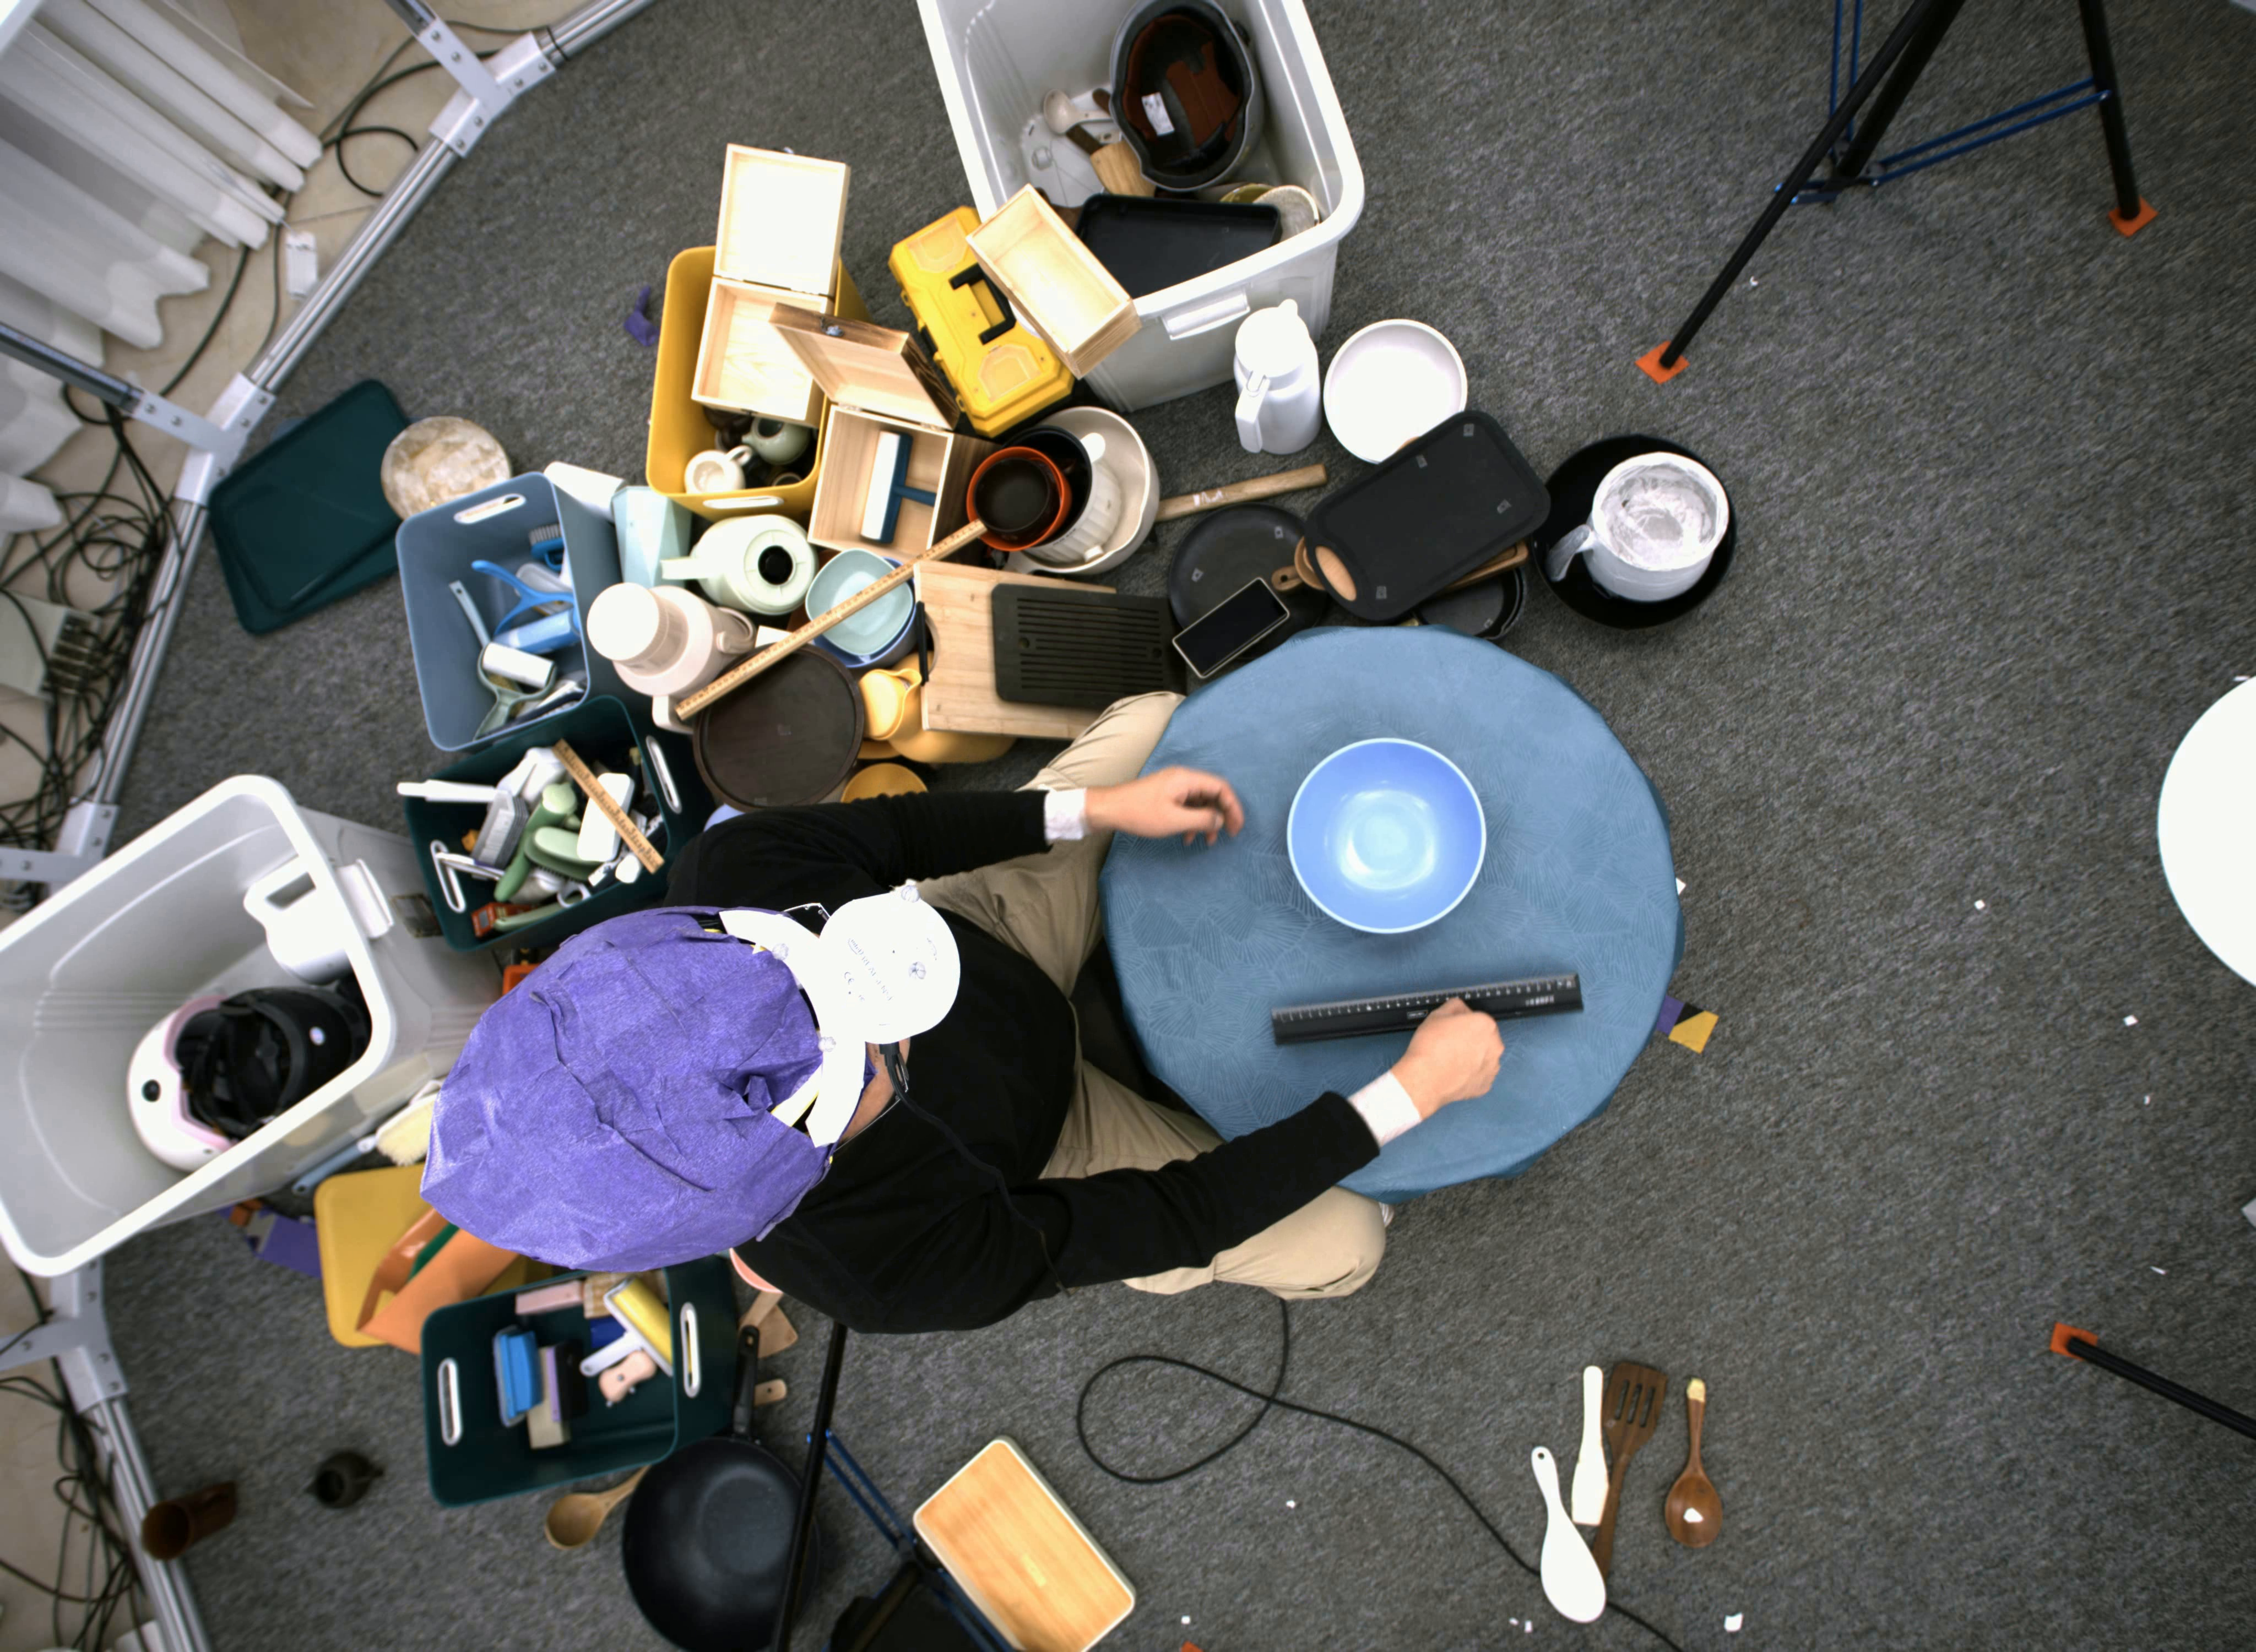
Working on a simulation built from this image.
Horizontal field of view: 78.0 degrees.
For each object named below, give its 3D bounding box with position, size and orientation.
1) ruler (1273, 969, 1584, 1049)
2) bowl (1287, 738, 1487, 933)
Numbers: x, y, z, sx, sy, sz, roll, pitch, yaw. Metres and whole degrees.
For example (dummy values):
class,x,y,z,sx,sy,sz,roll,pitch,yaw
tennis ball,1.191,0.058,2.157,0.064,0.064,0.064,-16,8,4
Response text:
class,x,y,z,sx,sy,sz,roll,pitch,yaw
ruler,0.303,0.185,1.406,0.314,0.017,0.039,-11,90,13
bowl,0.264,0.013,1.416,0.197,0.095,0.195,-1,86,10
